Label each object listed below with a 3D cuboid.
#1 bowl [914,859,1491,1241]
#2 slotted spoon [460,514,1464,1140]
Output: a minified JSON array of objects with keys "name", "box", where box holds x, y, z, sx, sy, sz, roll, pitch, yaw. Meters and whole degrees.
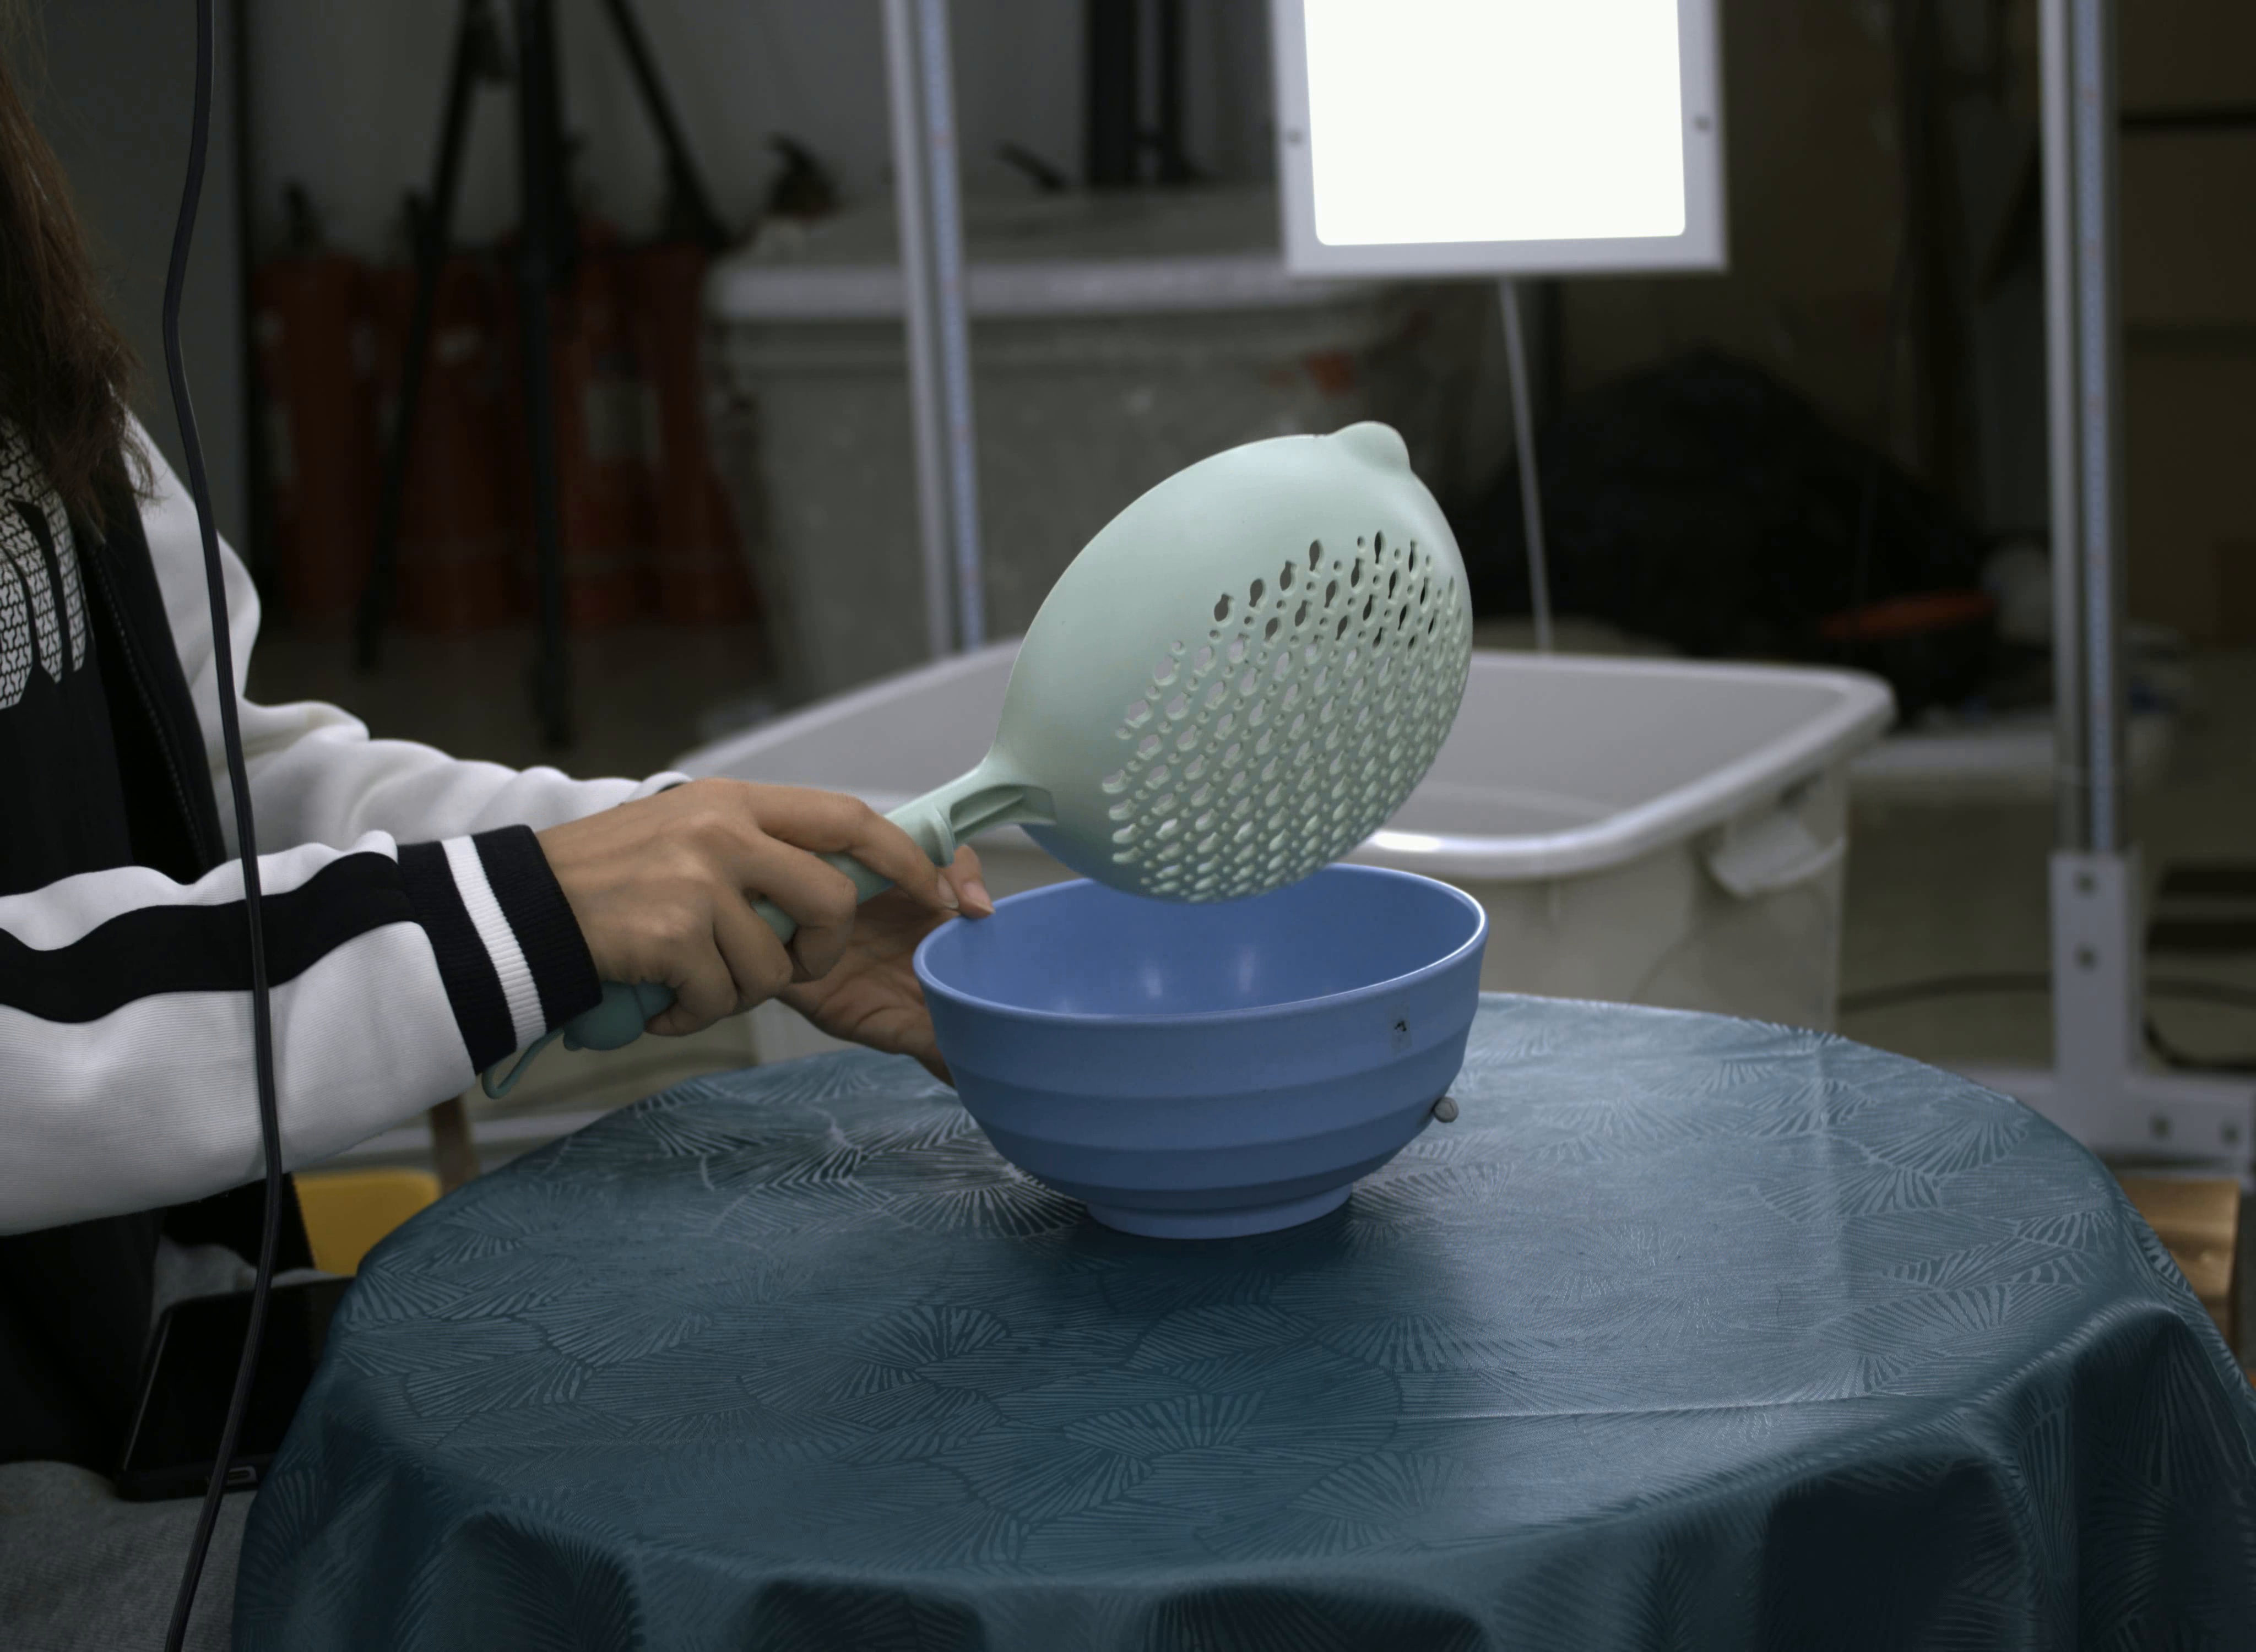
[{"name":"bowl","box":[0.029,0.082,1.871,0.196,0.096,0.196,-5,14,0]},{"name":"slotted spoon","box":[-0.050,0.009,1.737,0.356,0.076,0.170,-18,-25,-8]}]
